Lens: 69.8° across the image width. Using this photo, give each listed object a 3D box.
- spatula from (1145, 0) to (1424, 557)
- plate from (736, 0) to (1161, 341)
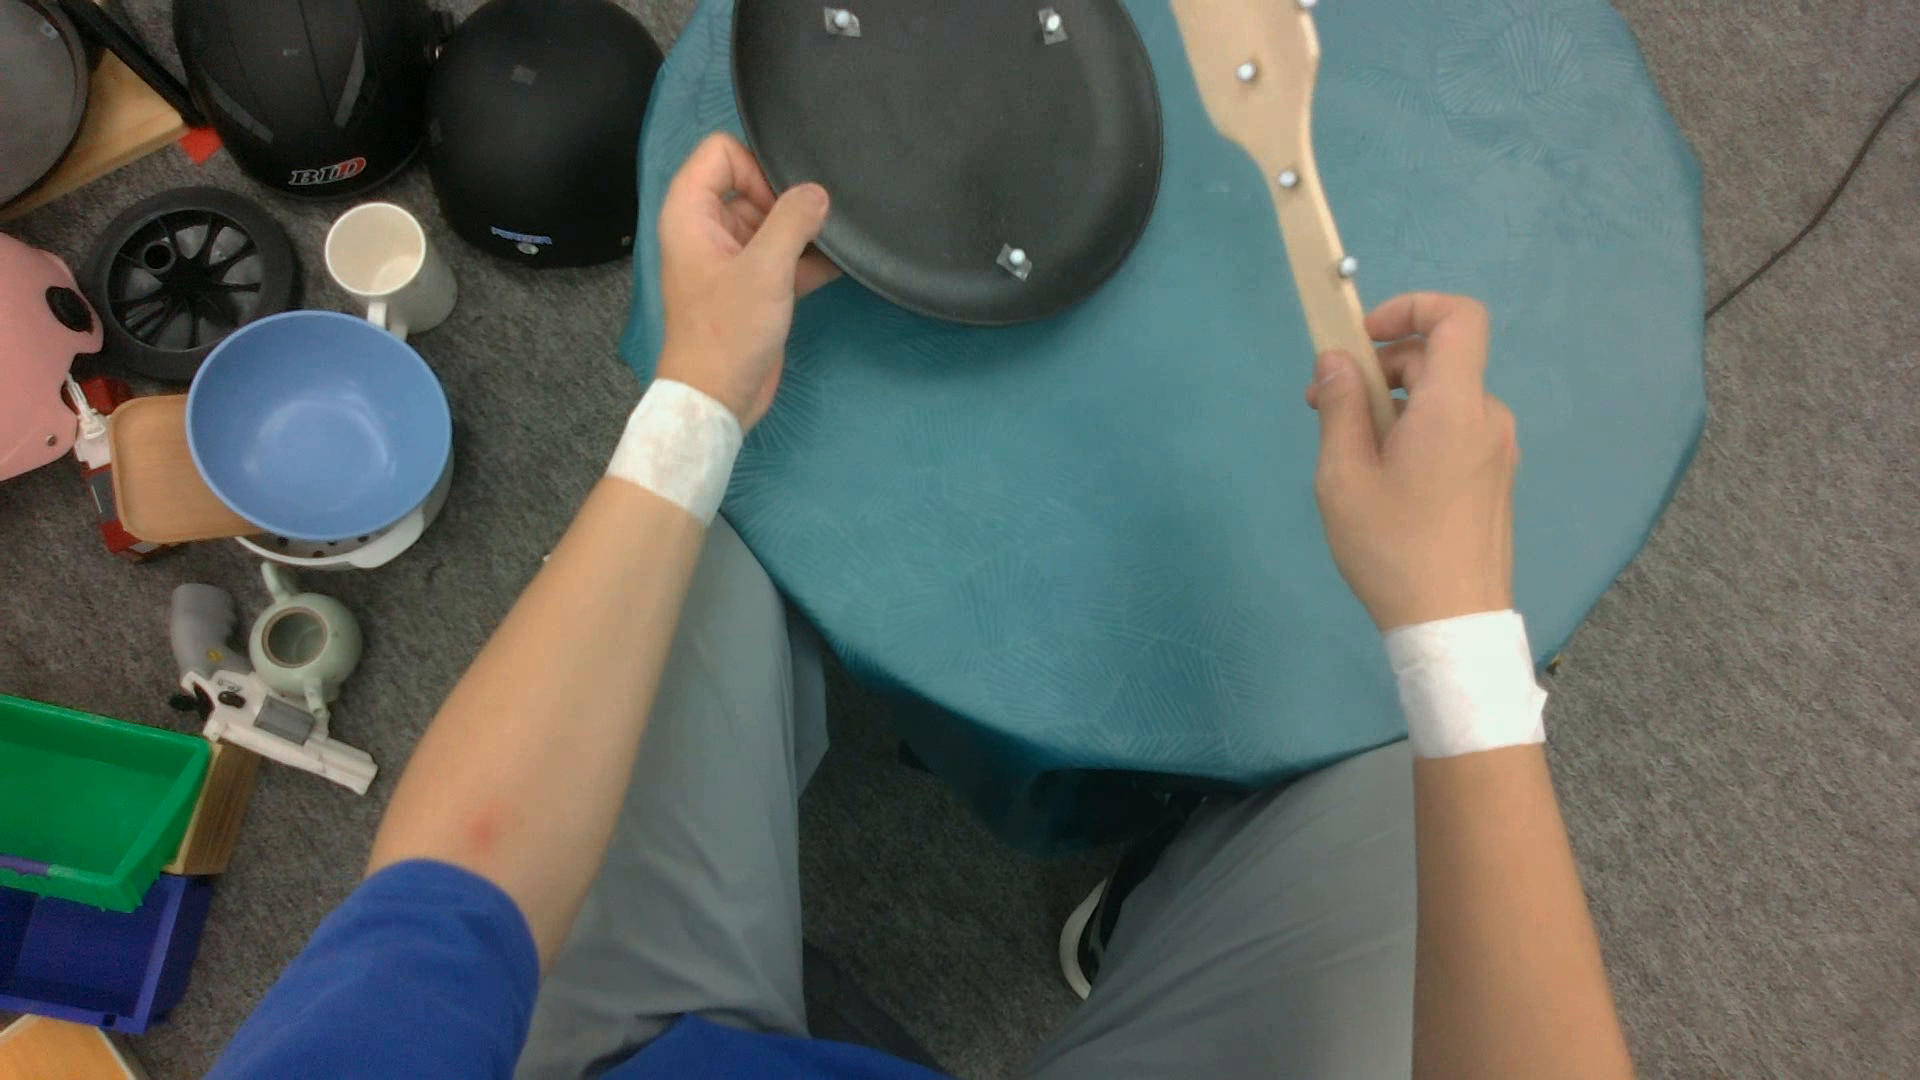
[{"bbox_3d":[0.150,-0.131,0.617,0.011,0.072,0.293,-15,83,-28],"label":"spatula"},{"bbox_3d":[-0.002,-0.222,0.726,0.245,0.023,0.244,4,80,-25],"label":"plate"}]
